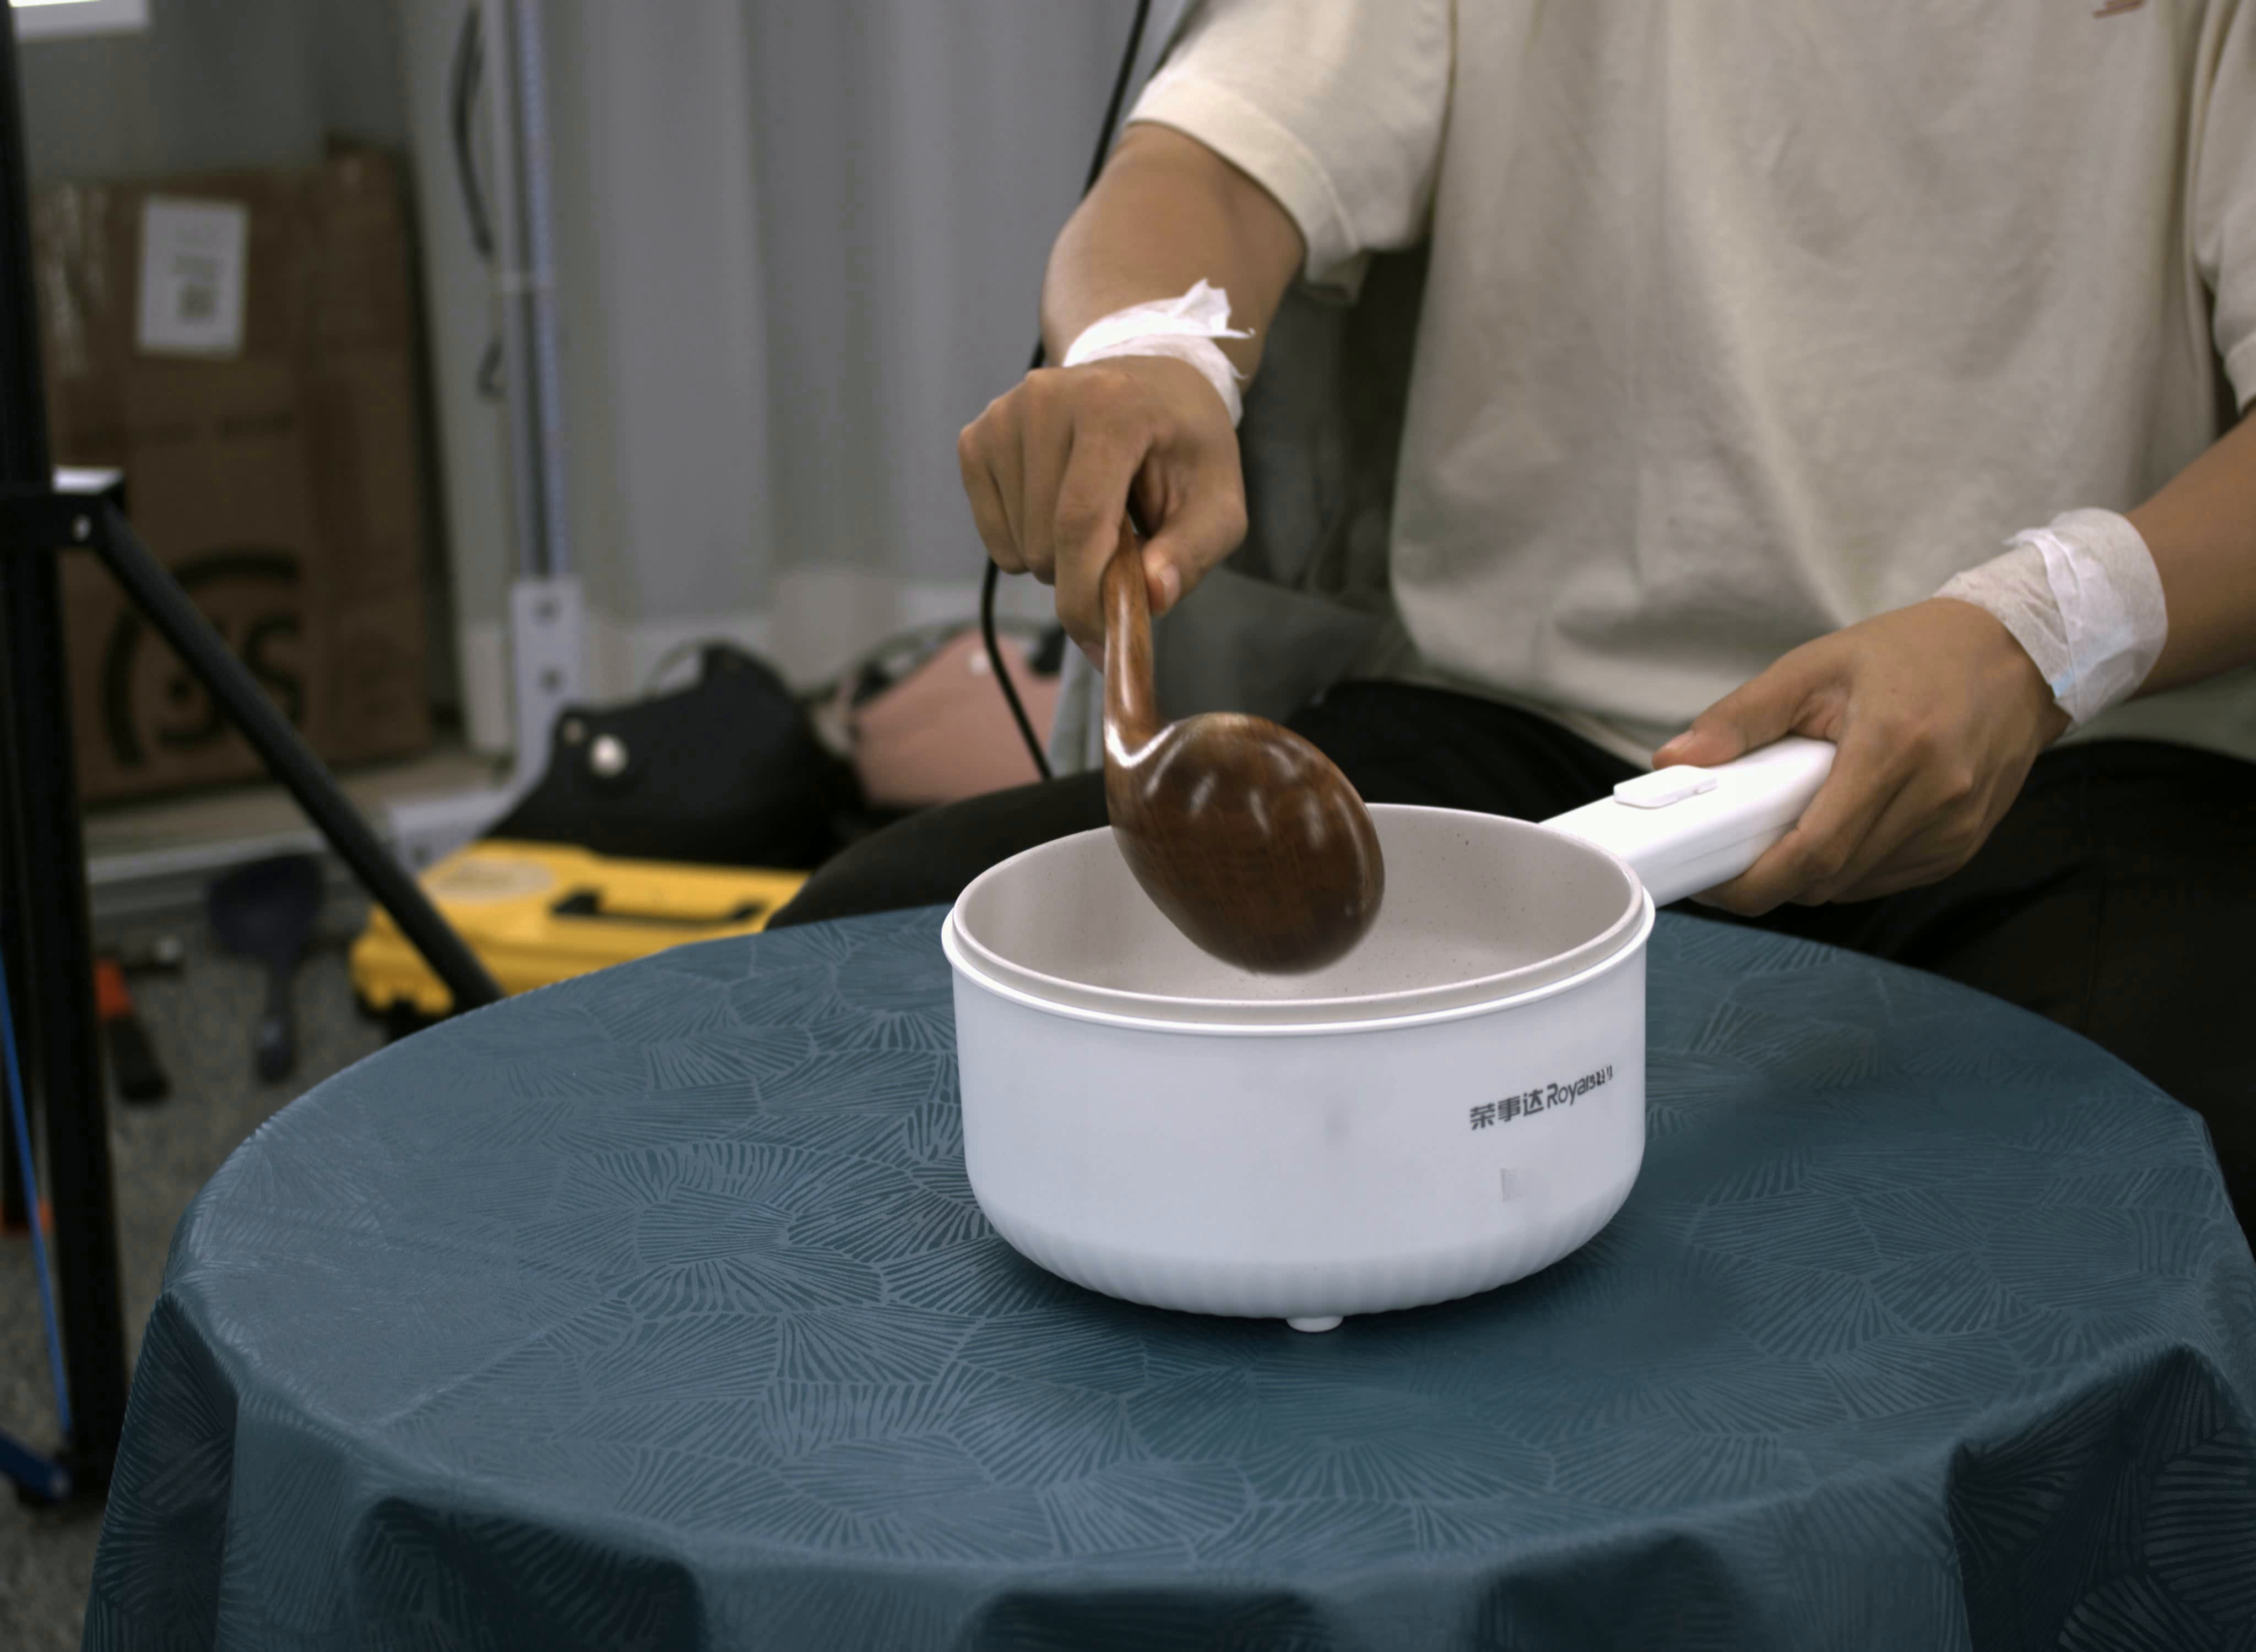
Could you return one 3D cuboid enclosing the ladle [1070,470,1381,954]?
[{"bbox_3d":[0.026,-0.049,1.567,0.076,0.082,0.276,0,25,-3],"label":"ladle"}]

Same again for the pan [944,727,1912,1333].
[{"bbox_3d":[0.104,0.053,1.551,0.346,0.102,0.206,-16,19,-41],"label":"pan"}]
